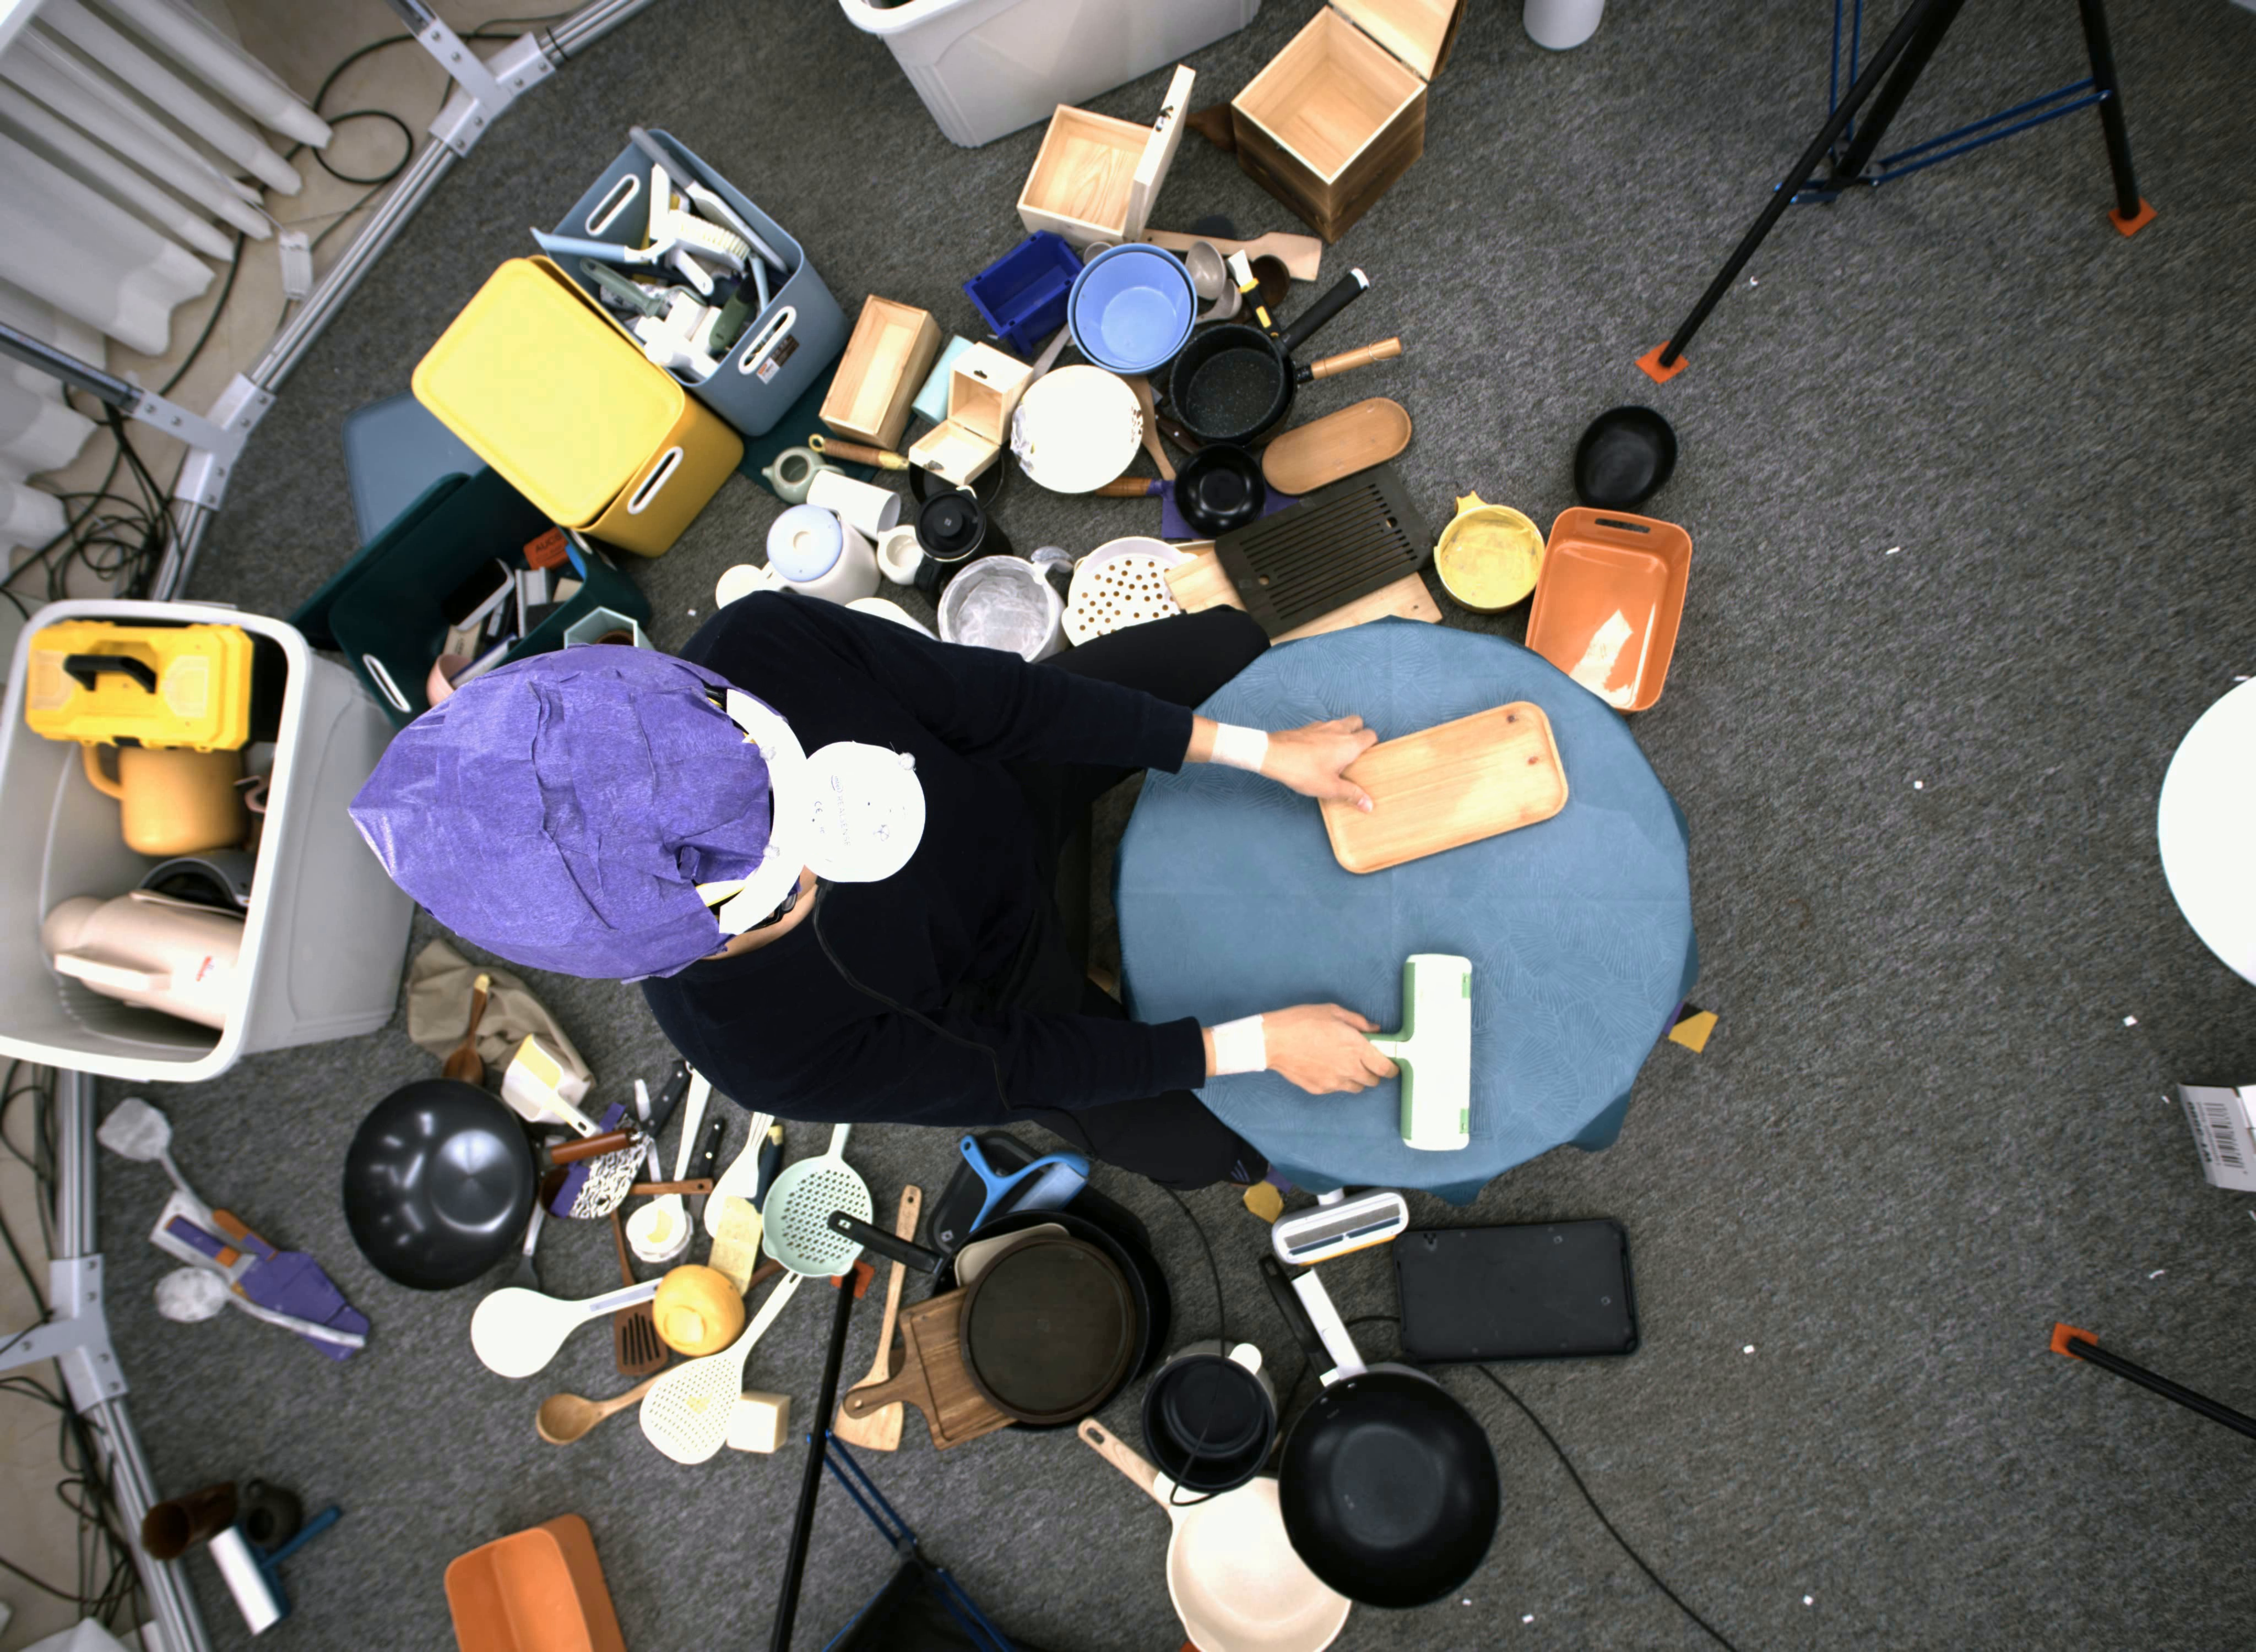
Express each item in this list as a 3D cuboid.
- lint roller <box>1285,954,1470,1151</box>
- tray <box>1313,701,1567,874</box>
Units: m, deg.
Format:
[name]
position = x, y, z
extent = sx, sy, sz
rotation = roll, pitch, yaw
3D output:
[lint roller]
position = 0.254, 0.225, 1.407
extent = 0.183, 0.082, 0.197
rotation = 2, 86, 2
[tray]
position = 0.325, -0.041, 1.436
extent = 0.252, 0.023, 0.131
rotation = -16, 94, 10
